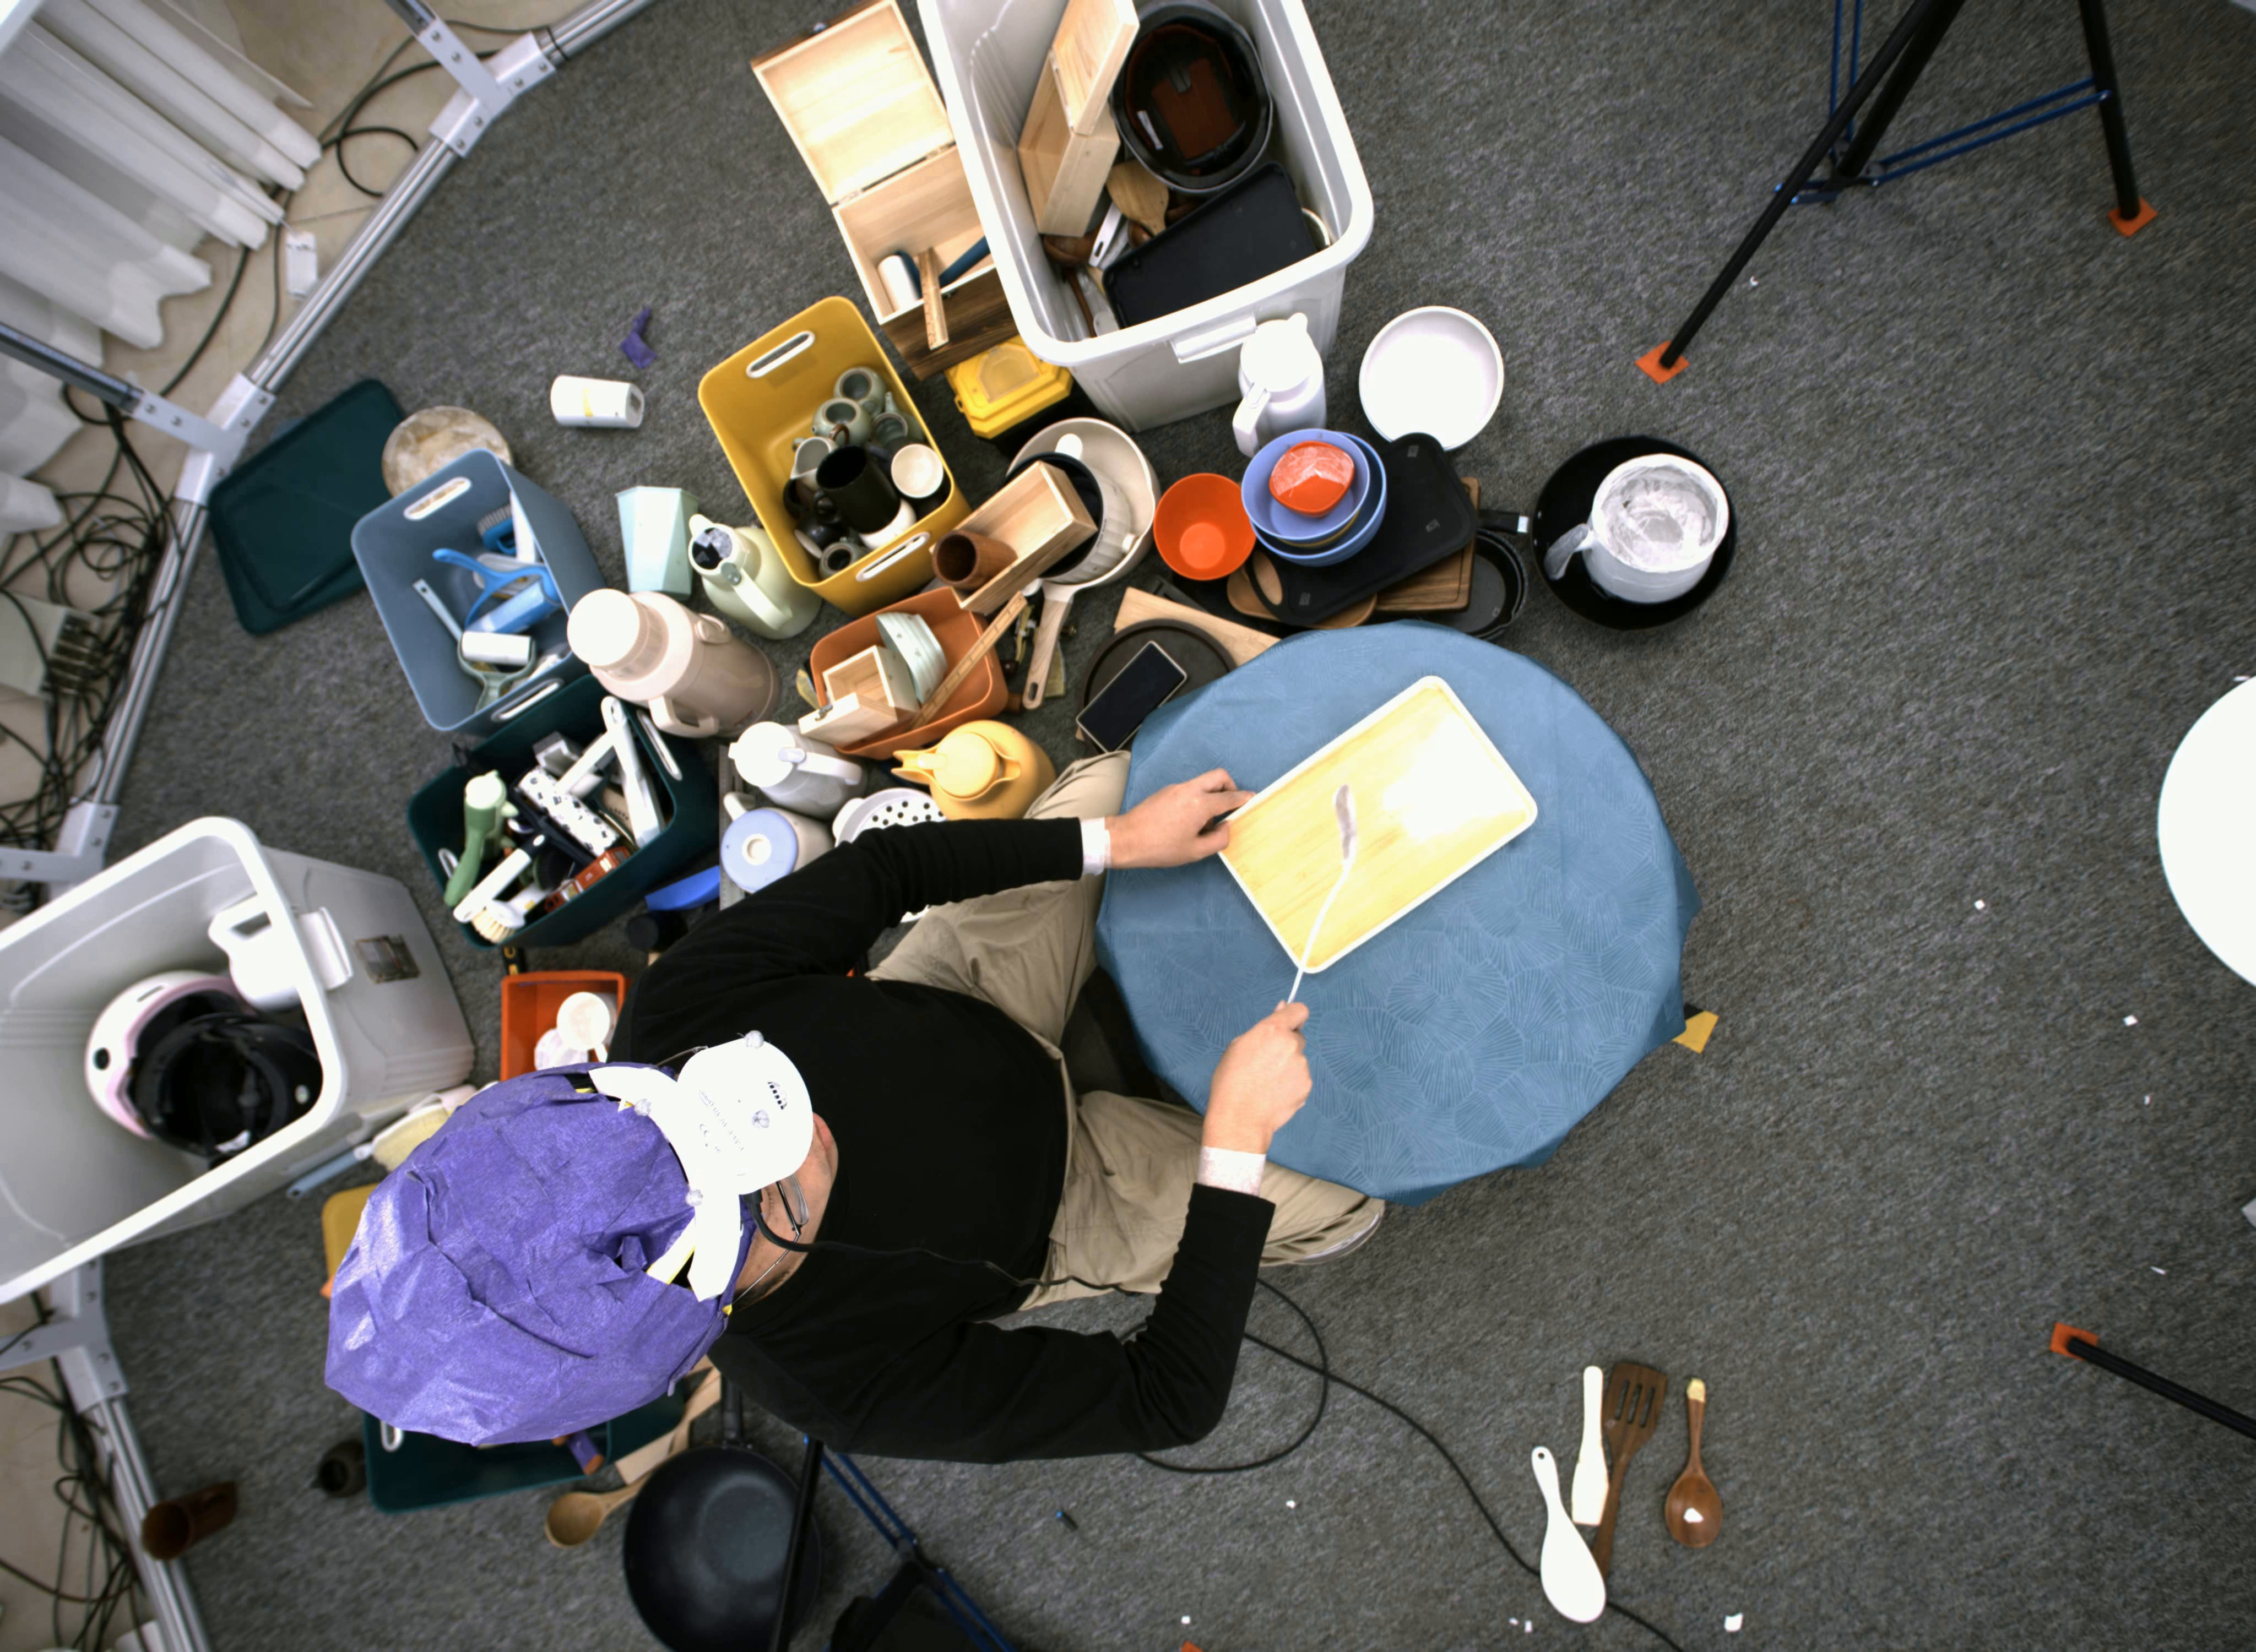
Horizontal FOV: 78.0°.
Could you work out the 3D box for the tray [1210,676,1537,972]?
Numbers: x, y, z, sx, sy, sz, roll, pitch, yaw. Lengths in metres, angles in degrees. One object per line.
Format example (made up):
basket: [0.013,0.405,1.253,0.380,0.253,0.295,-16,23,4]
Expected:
tray: [0.256,-0.003,1.452,0.302,0.027,0.190,-35,82,7]

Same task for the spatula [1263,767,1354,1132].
spatula: [0.170,0.115,1.341,0.045,0.100,0.359,18,73,10]
